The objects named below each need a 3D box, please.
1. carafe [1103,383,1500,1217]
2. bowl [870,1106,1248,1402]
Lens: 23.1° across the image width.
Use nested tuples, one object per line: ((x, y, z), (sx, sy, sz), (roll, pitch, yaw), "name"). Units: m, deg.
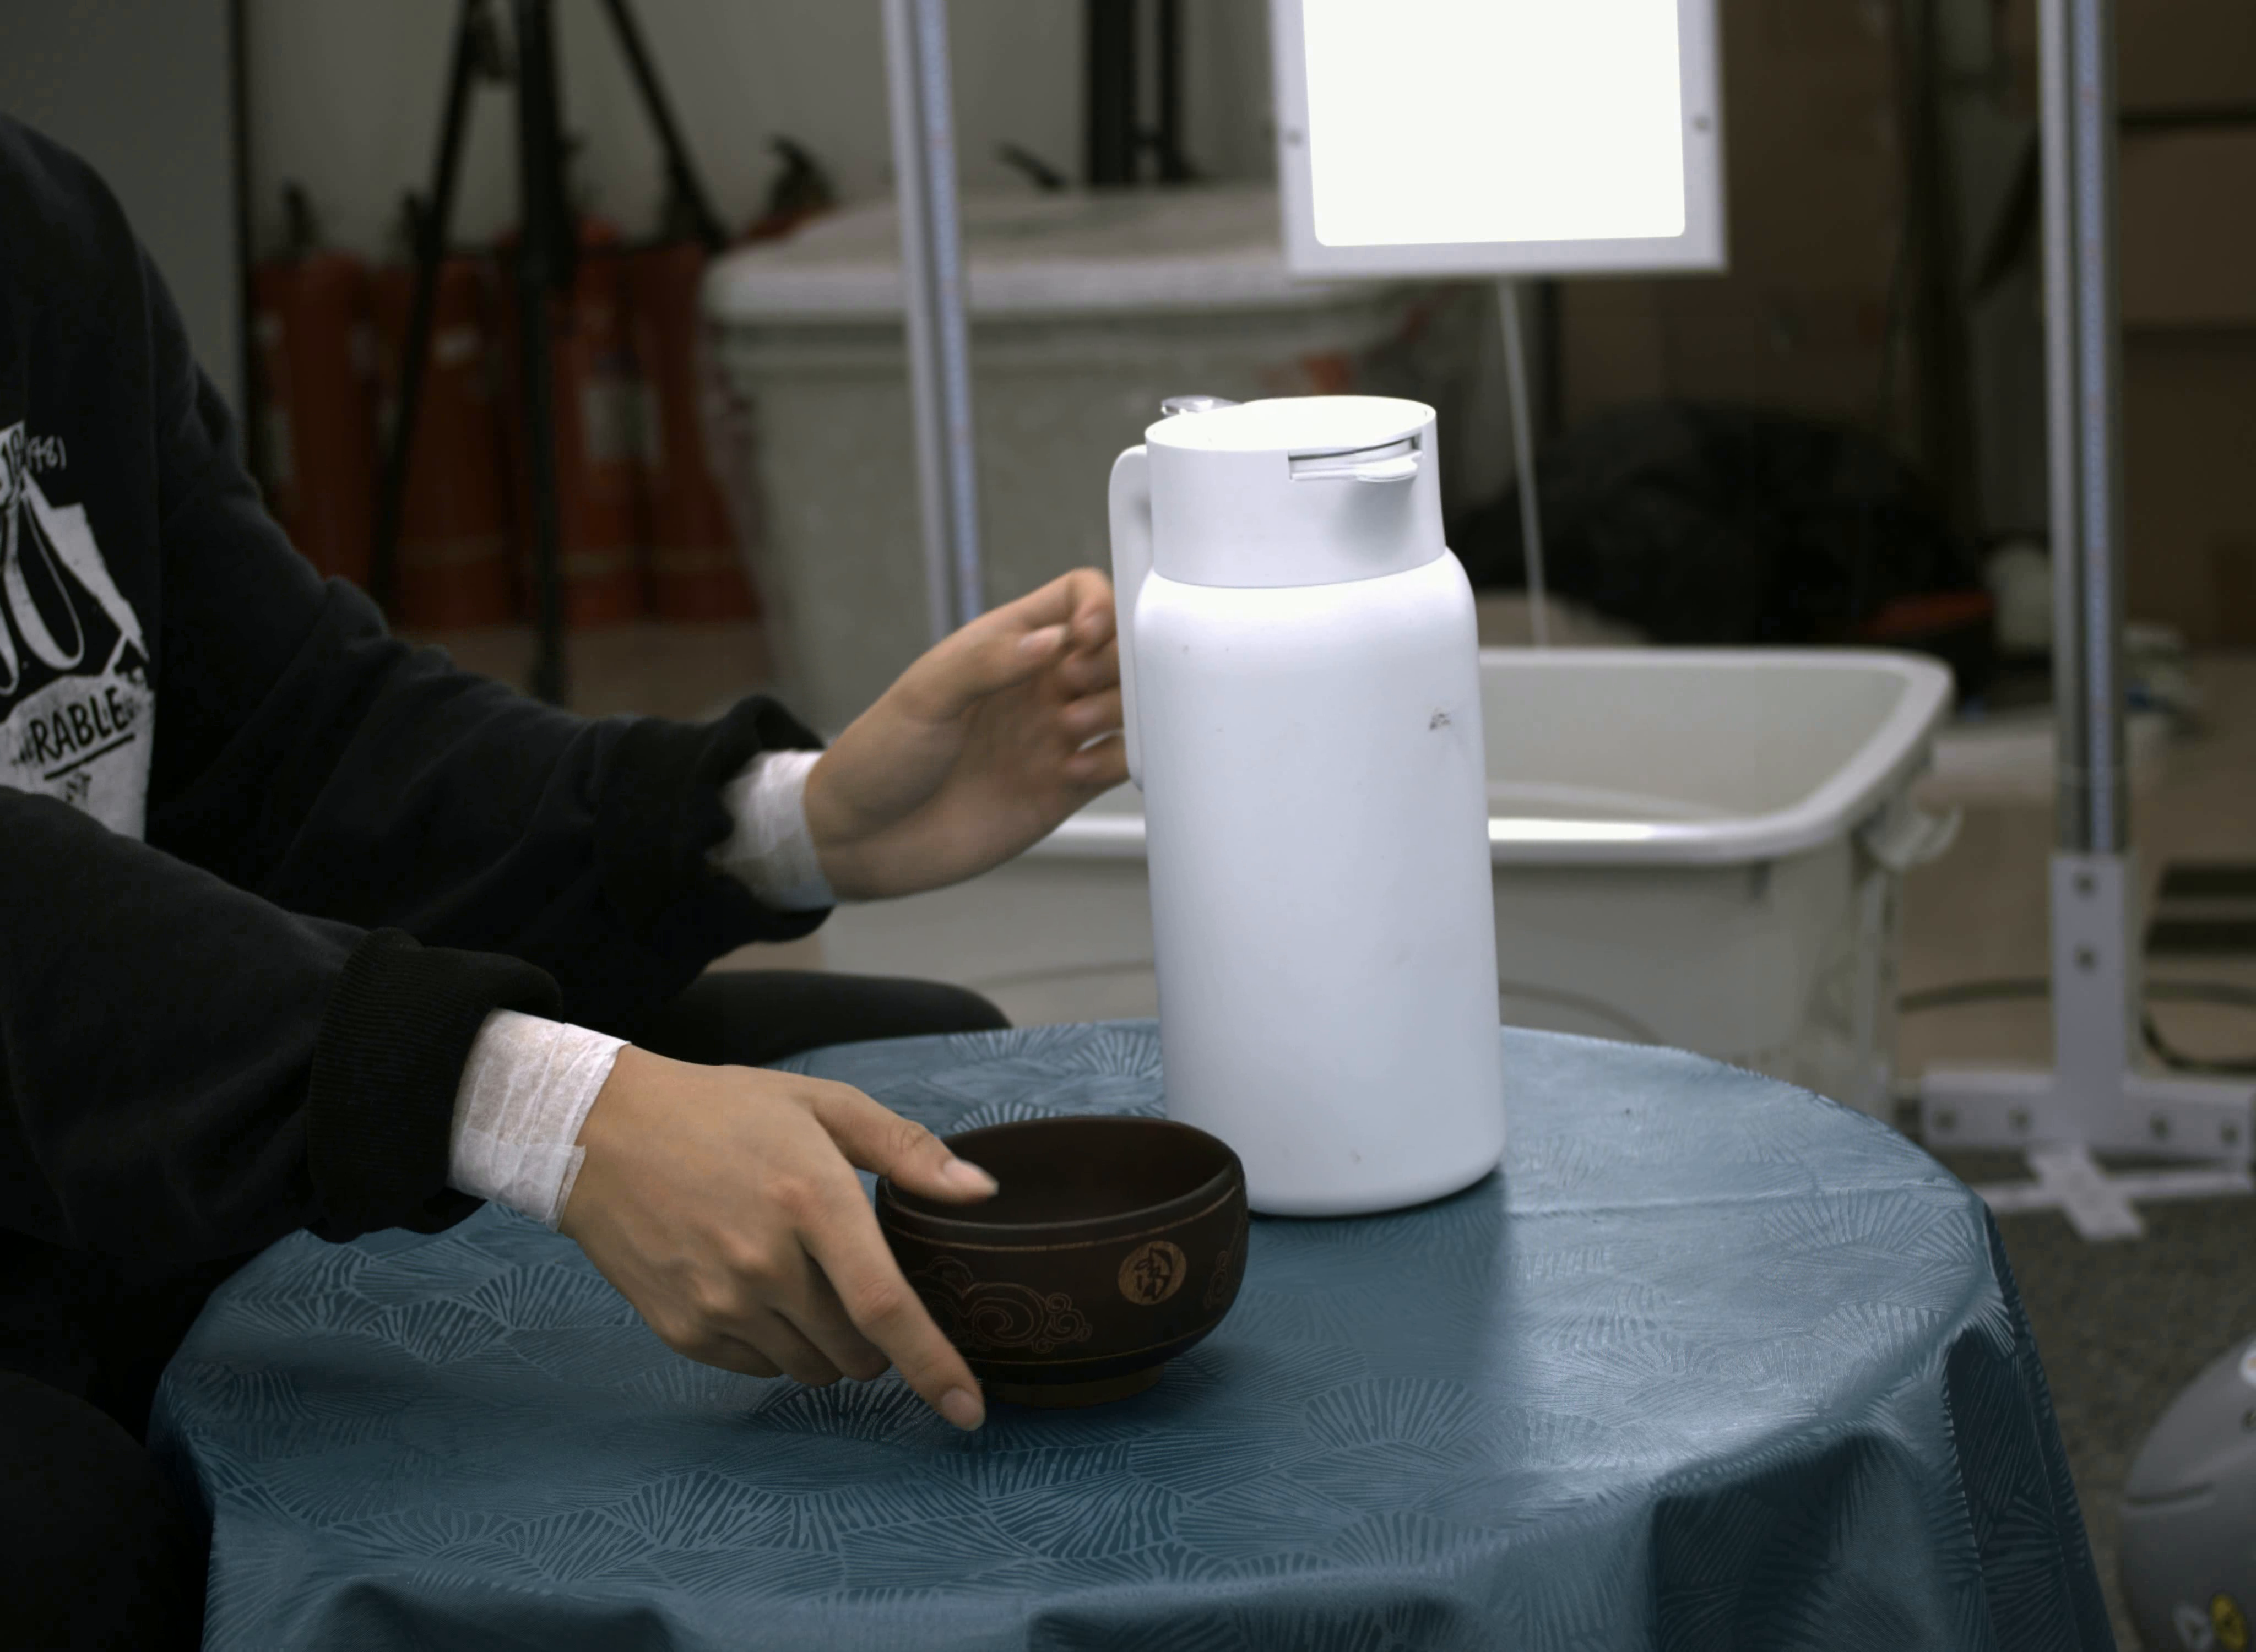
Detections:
((0.052, -0.011, 1.880), (0.121, 0.270, 0.176), (-14, 17, -29), "carafe")
((-0.020, 0.137, 1.711), (0.118, 0.070, 0.118), (-6, 14, 0), "bowl")
